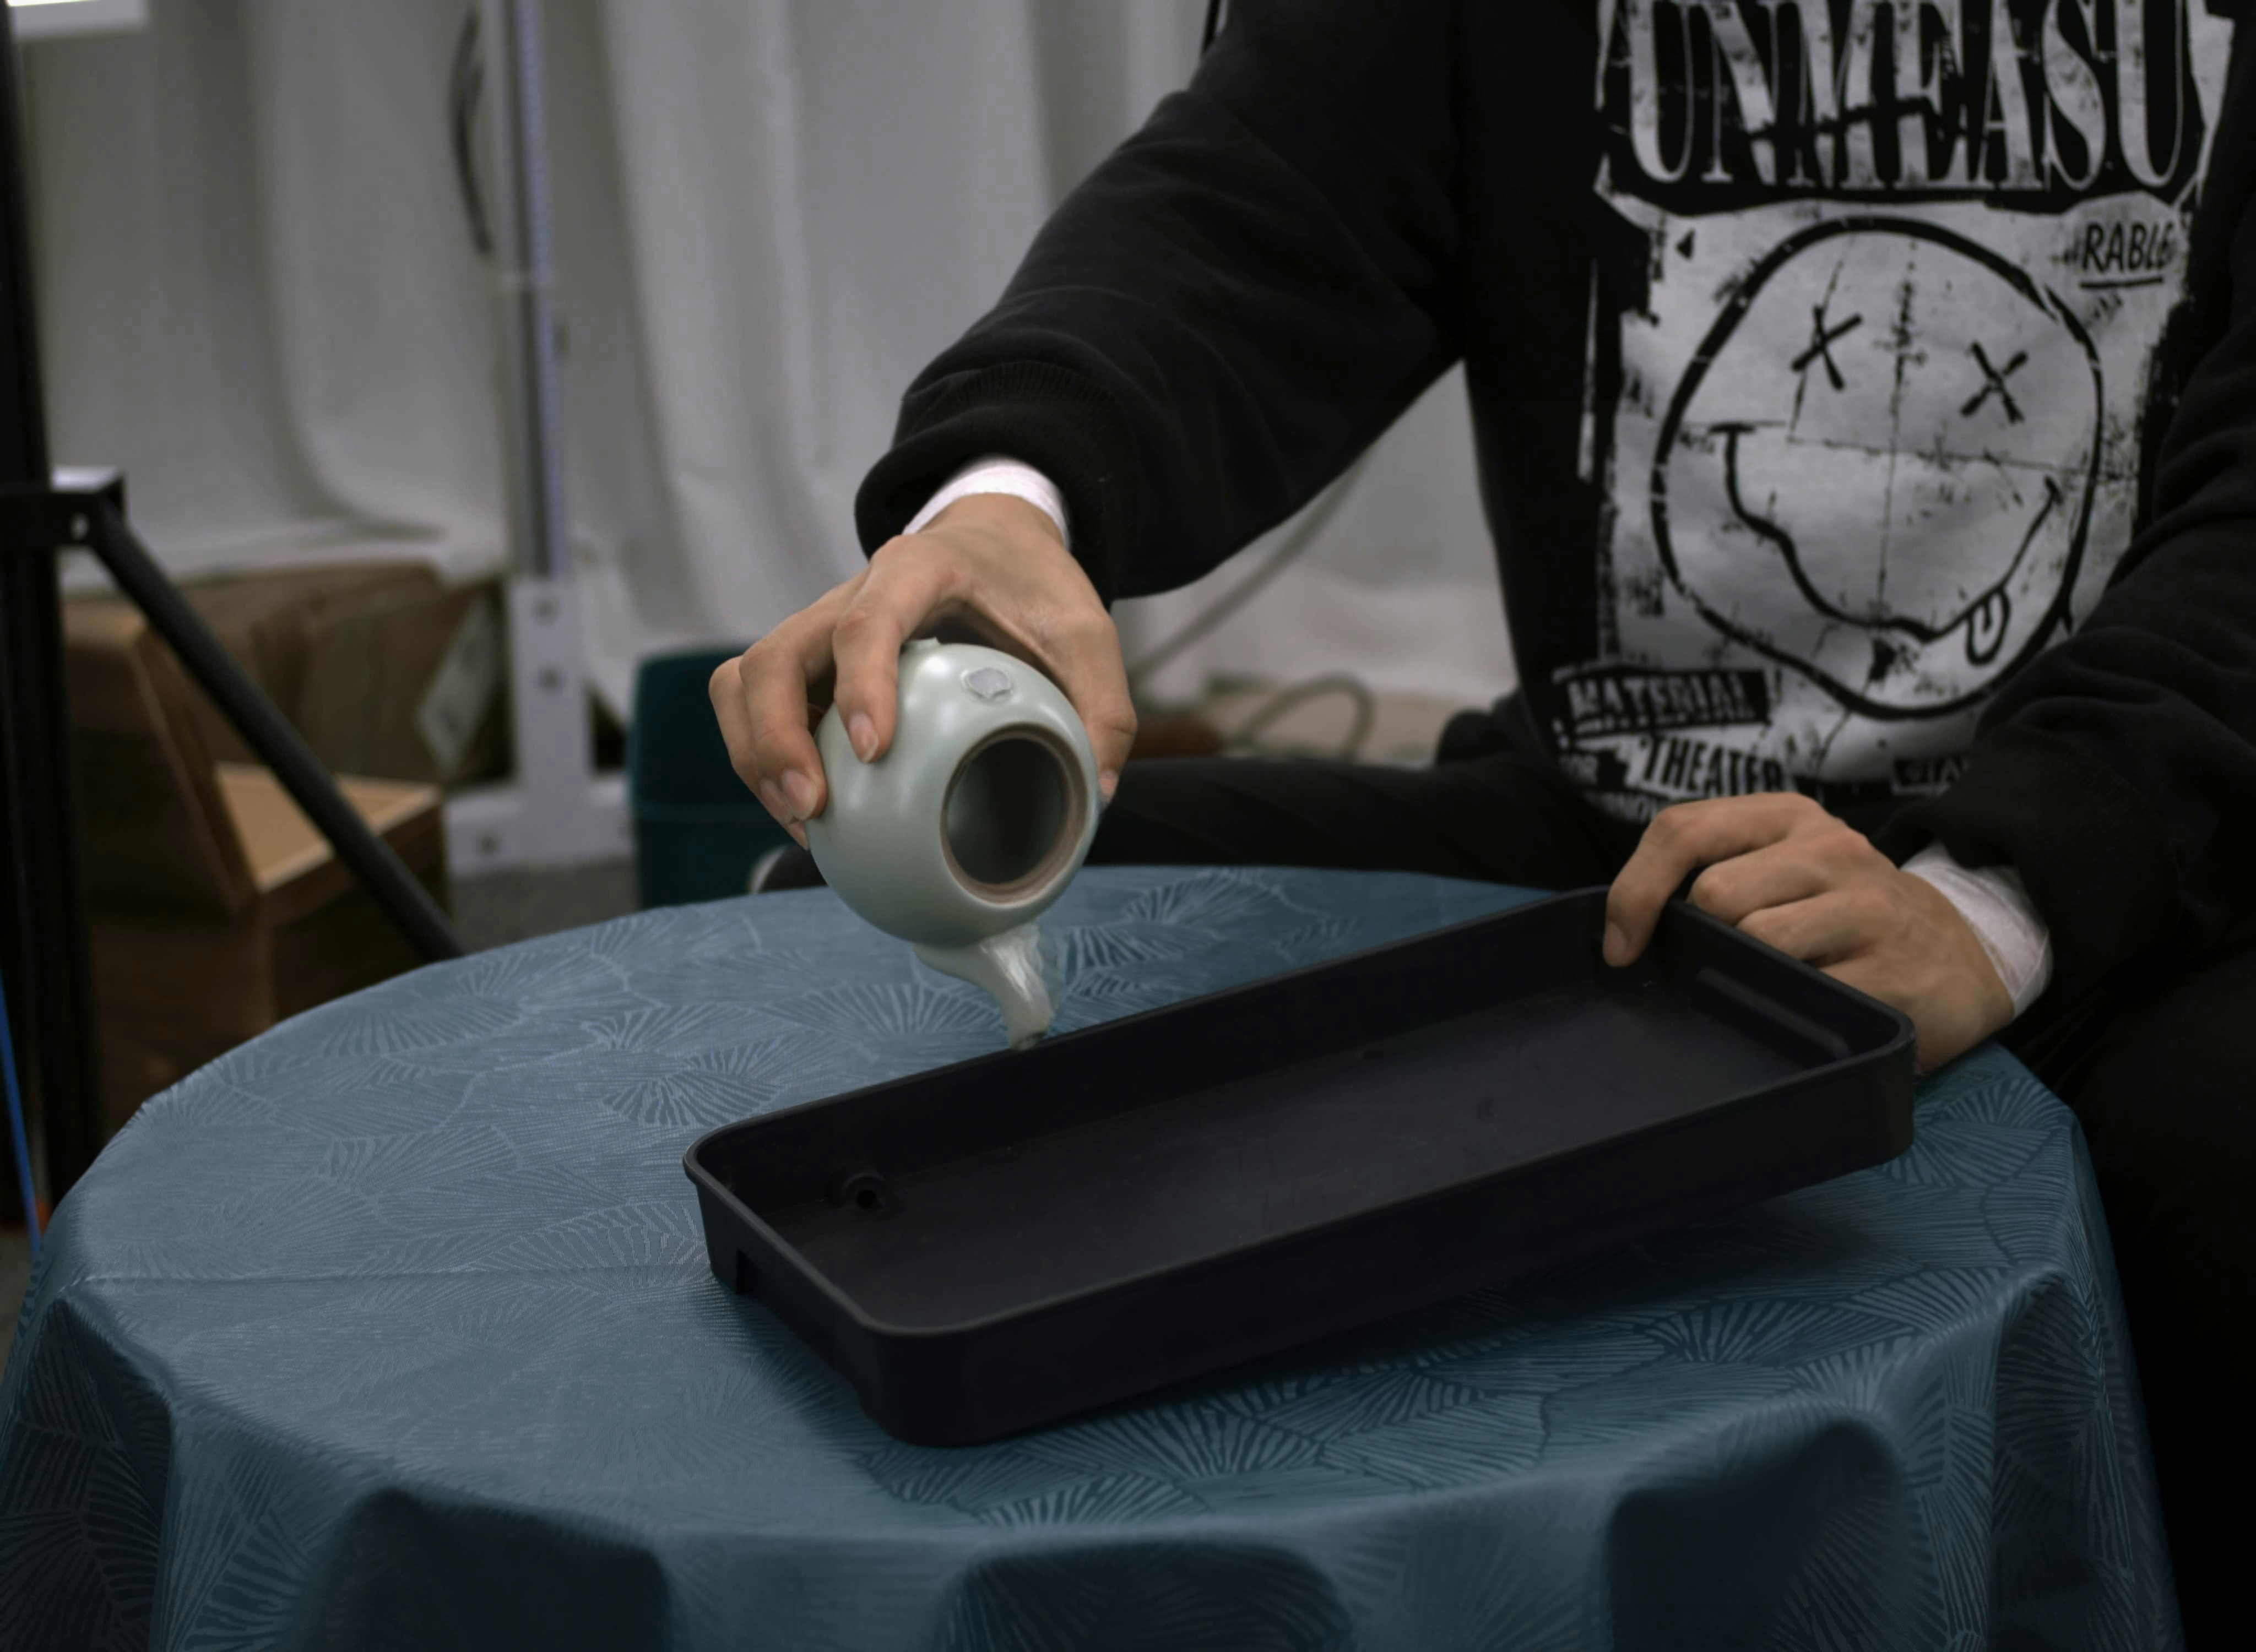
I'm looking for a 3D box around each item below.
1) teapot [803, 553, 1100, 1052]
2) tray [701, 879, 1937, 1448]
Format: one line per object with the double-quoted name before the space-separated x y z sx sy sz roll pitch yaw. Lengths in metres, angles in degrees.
"teapot" -0.050 -0.010 1.535 0.086 0.144 0.076 -13 21 -36
"tray" 0.054 0.089 1.489 0.312 0.037 0.188 -16 19 -21
